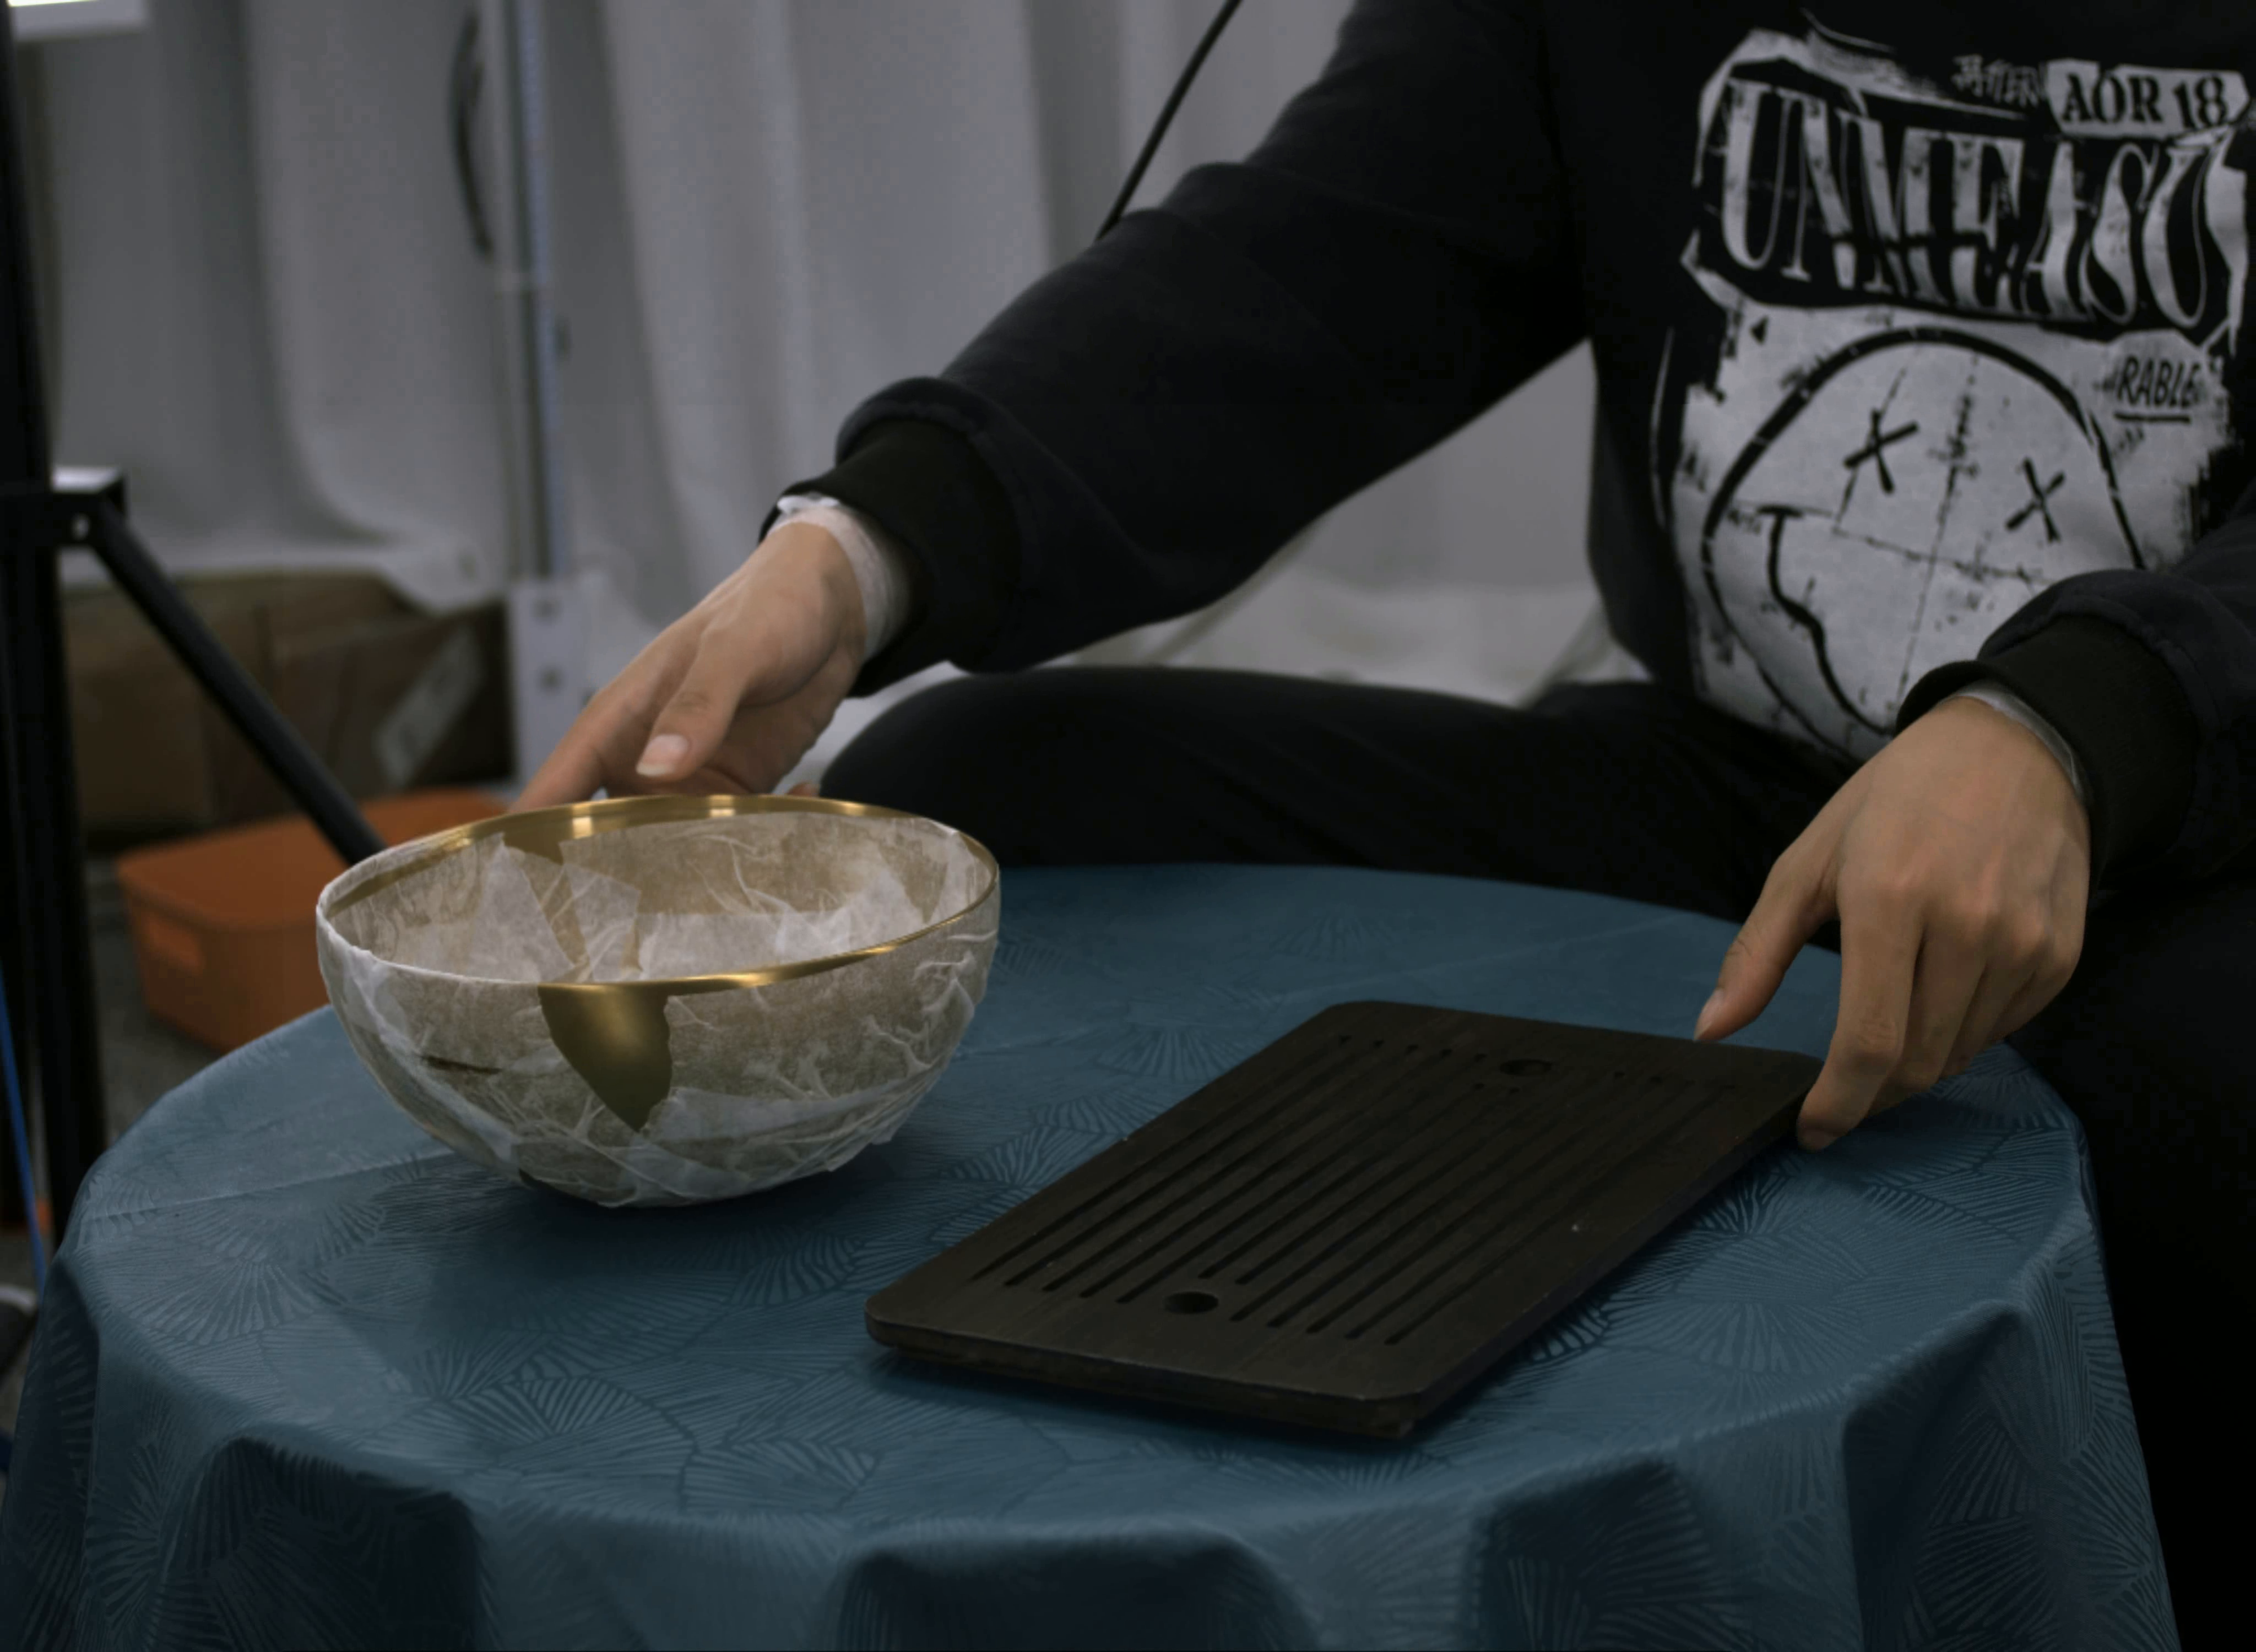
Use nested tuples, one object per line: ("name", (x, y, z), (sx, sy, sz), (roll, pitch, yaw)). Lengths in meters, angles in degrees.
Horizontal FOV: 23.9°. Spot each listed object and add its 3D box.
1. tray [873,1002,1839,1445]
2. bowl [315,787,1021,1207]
("tray", (0.073, 0.109, 1.509), (0.173, 0.018, 0.300), (6, 18, 29))
("bowl", (-0.132, 0.059, 1.585), (0.213, 0.094, 0.216), (-3, 14, -1))
